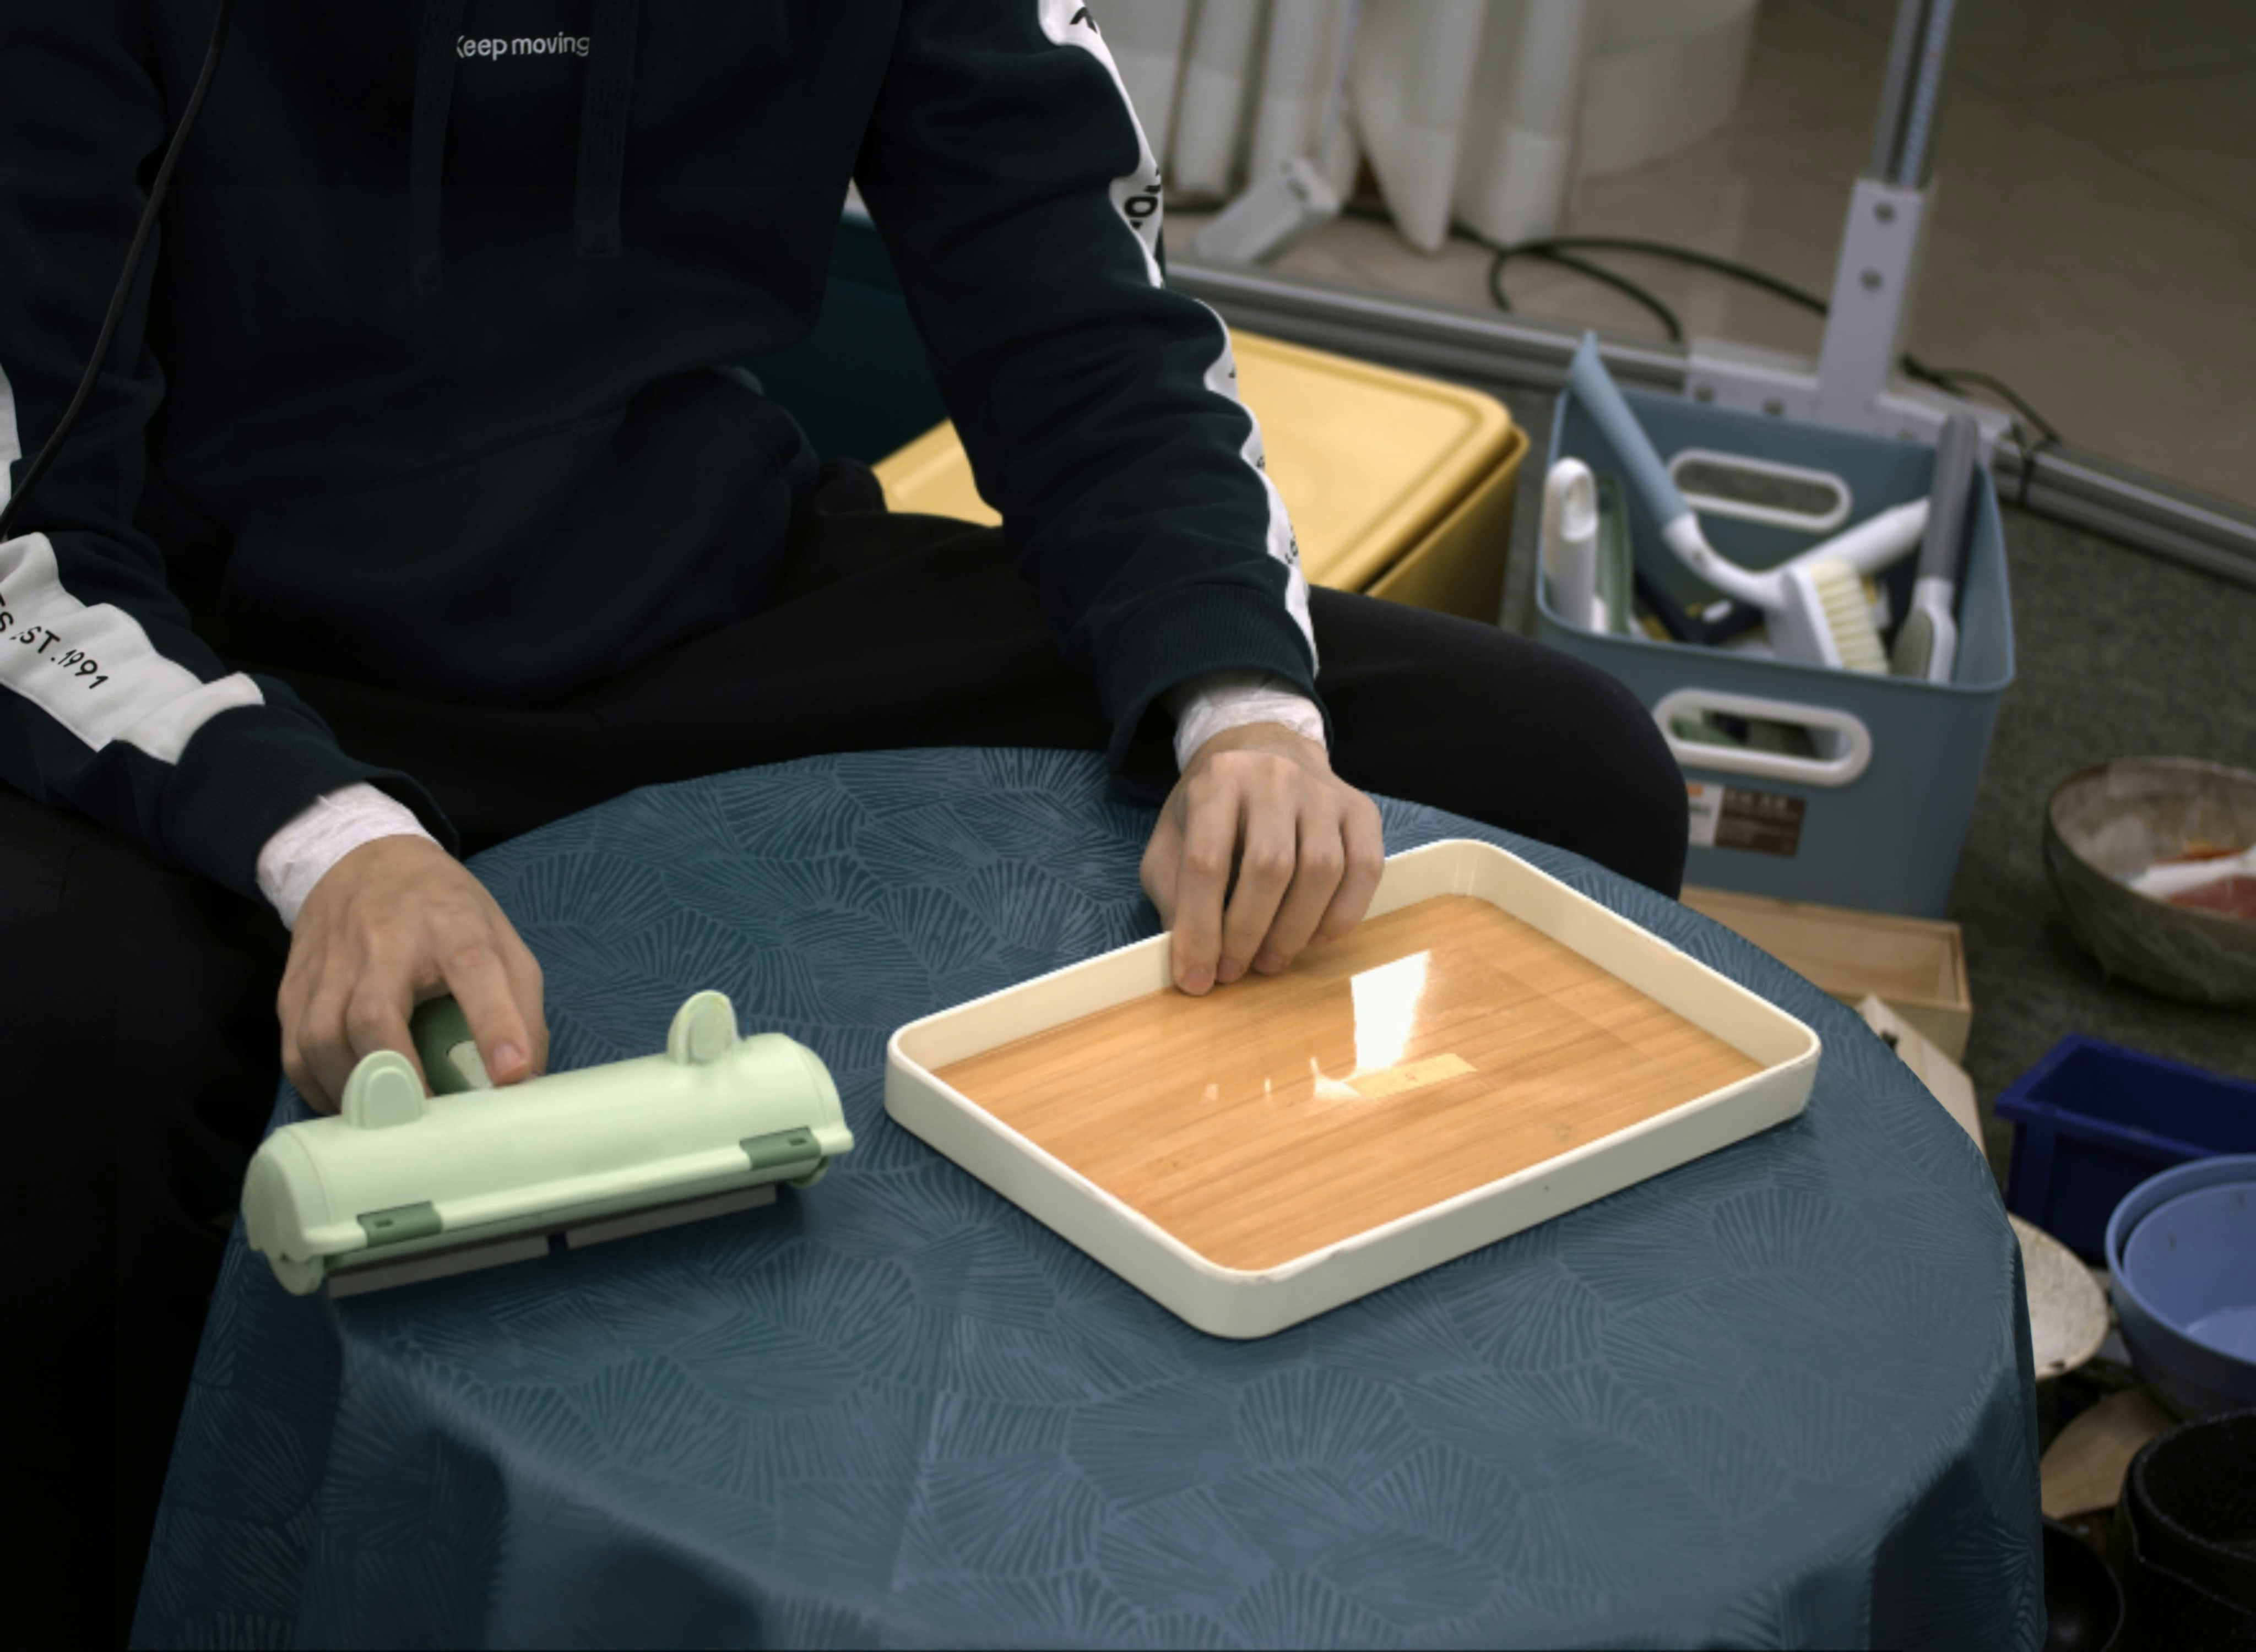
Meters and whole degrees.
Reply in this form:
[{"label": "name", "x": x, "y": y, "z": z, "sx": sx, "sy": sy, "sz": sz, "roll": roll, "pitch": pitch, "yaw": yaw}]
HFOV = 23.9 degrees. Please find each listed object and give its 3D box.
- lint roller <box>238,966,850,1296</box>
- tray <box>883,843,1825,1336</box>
[{"label": "lint roller", "x": -0.215, "y": 0.075, "z": 1.761, "sx": 0.197, "sy": 0.082, "sz": 0.185, "roll": -10, "pitch": 35, "yaw": -29}, {"label": "tray", "x": 0.081, "y": 0.087, "z": 1.860, "sx": 0.298, "sy": 0.027, "sz": 0.193, "roll": -17, "pitch": 35, "yaw": -39}]
